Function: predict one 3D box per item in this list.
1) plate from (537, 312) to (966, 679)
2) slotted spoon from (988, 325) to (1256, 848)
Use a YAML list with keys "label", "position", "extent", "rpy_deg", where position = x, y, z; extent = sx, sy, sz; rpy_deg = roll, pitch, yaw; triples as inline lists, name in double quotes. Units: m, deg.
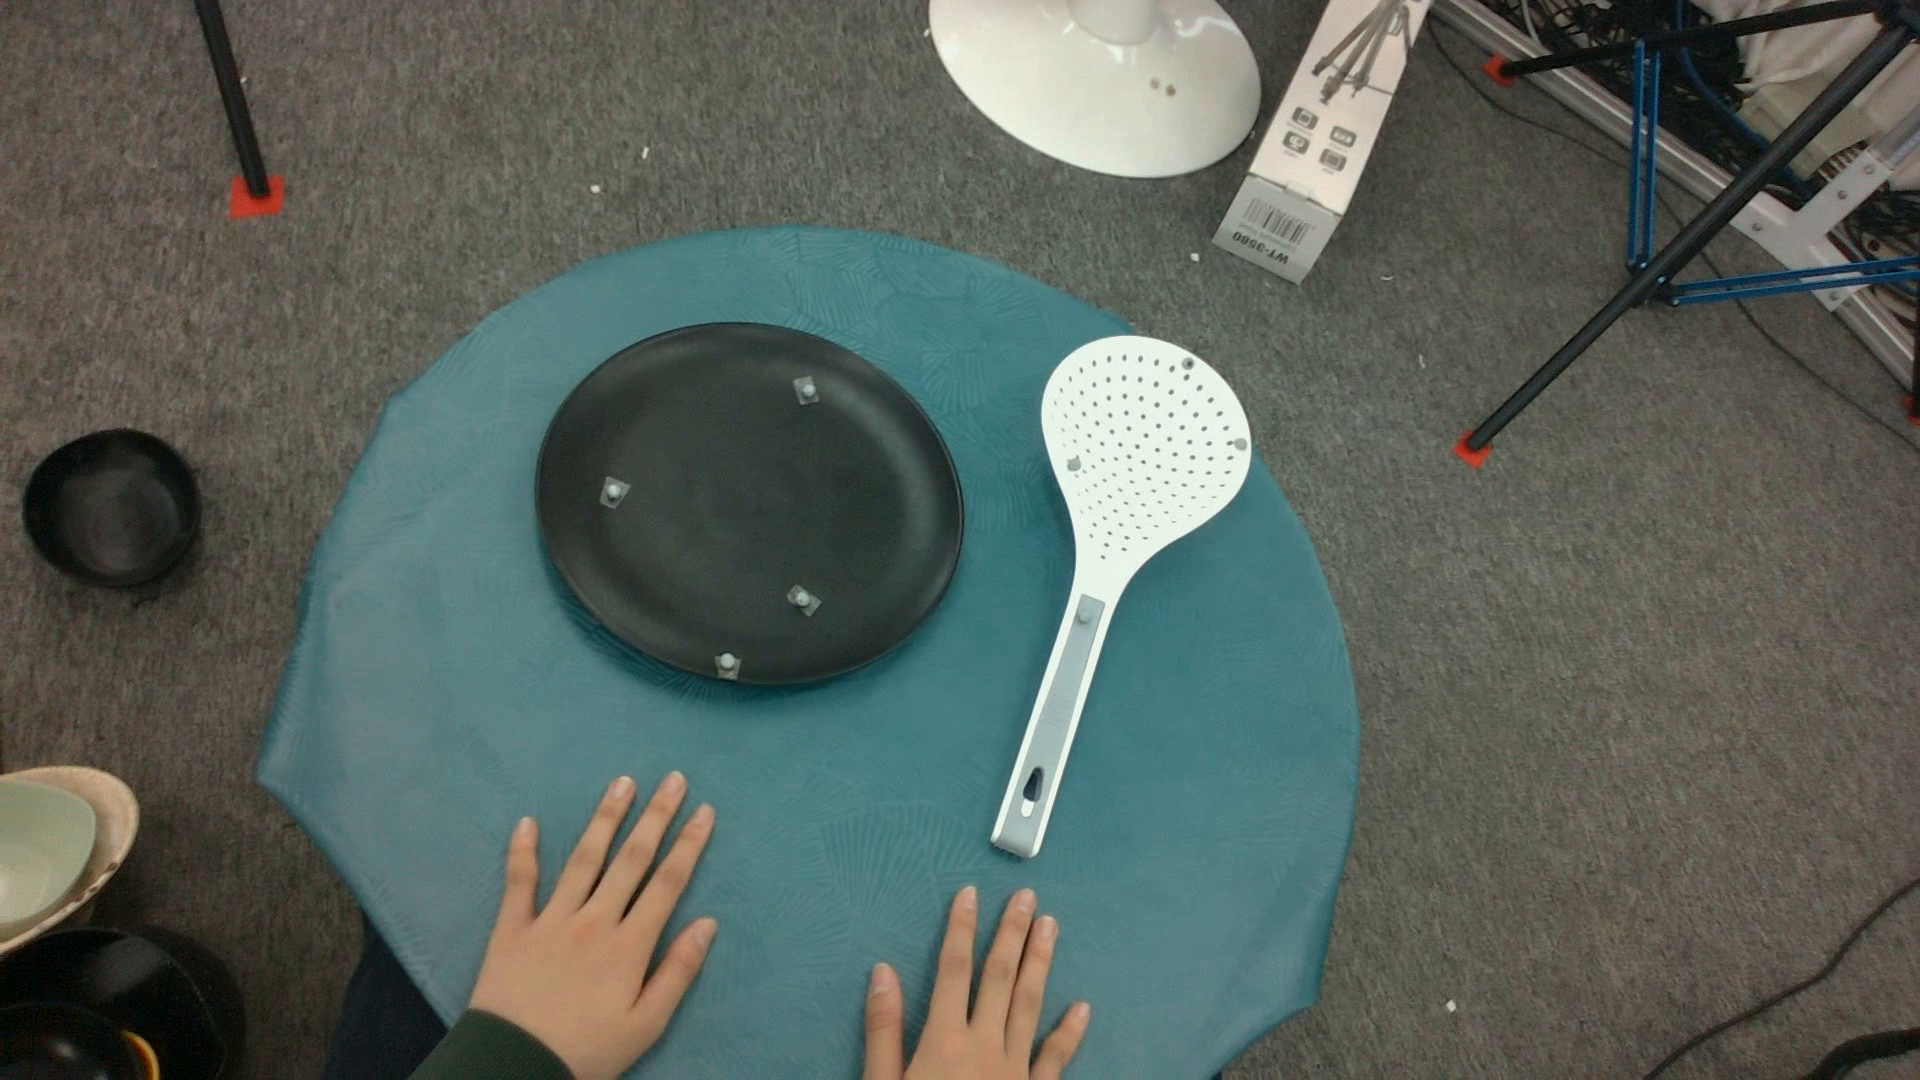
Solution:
- label: "plate"
  position: [-0.117, -0.029, 0.793]
  extent: [0.244, 0.023, 0.245]
  rpy_deg: [7, 59, -12]
- label: "slotted spoon"
  position: [0.084, 0.016, 0.814]
  extent: [0.136, 0.045, 0.351]
  rpy_deg: [22, 58, -1]
